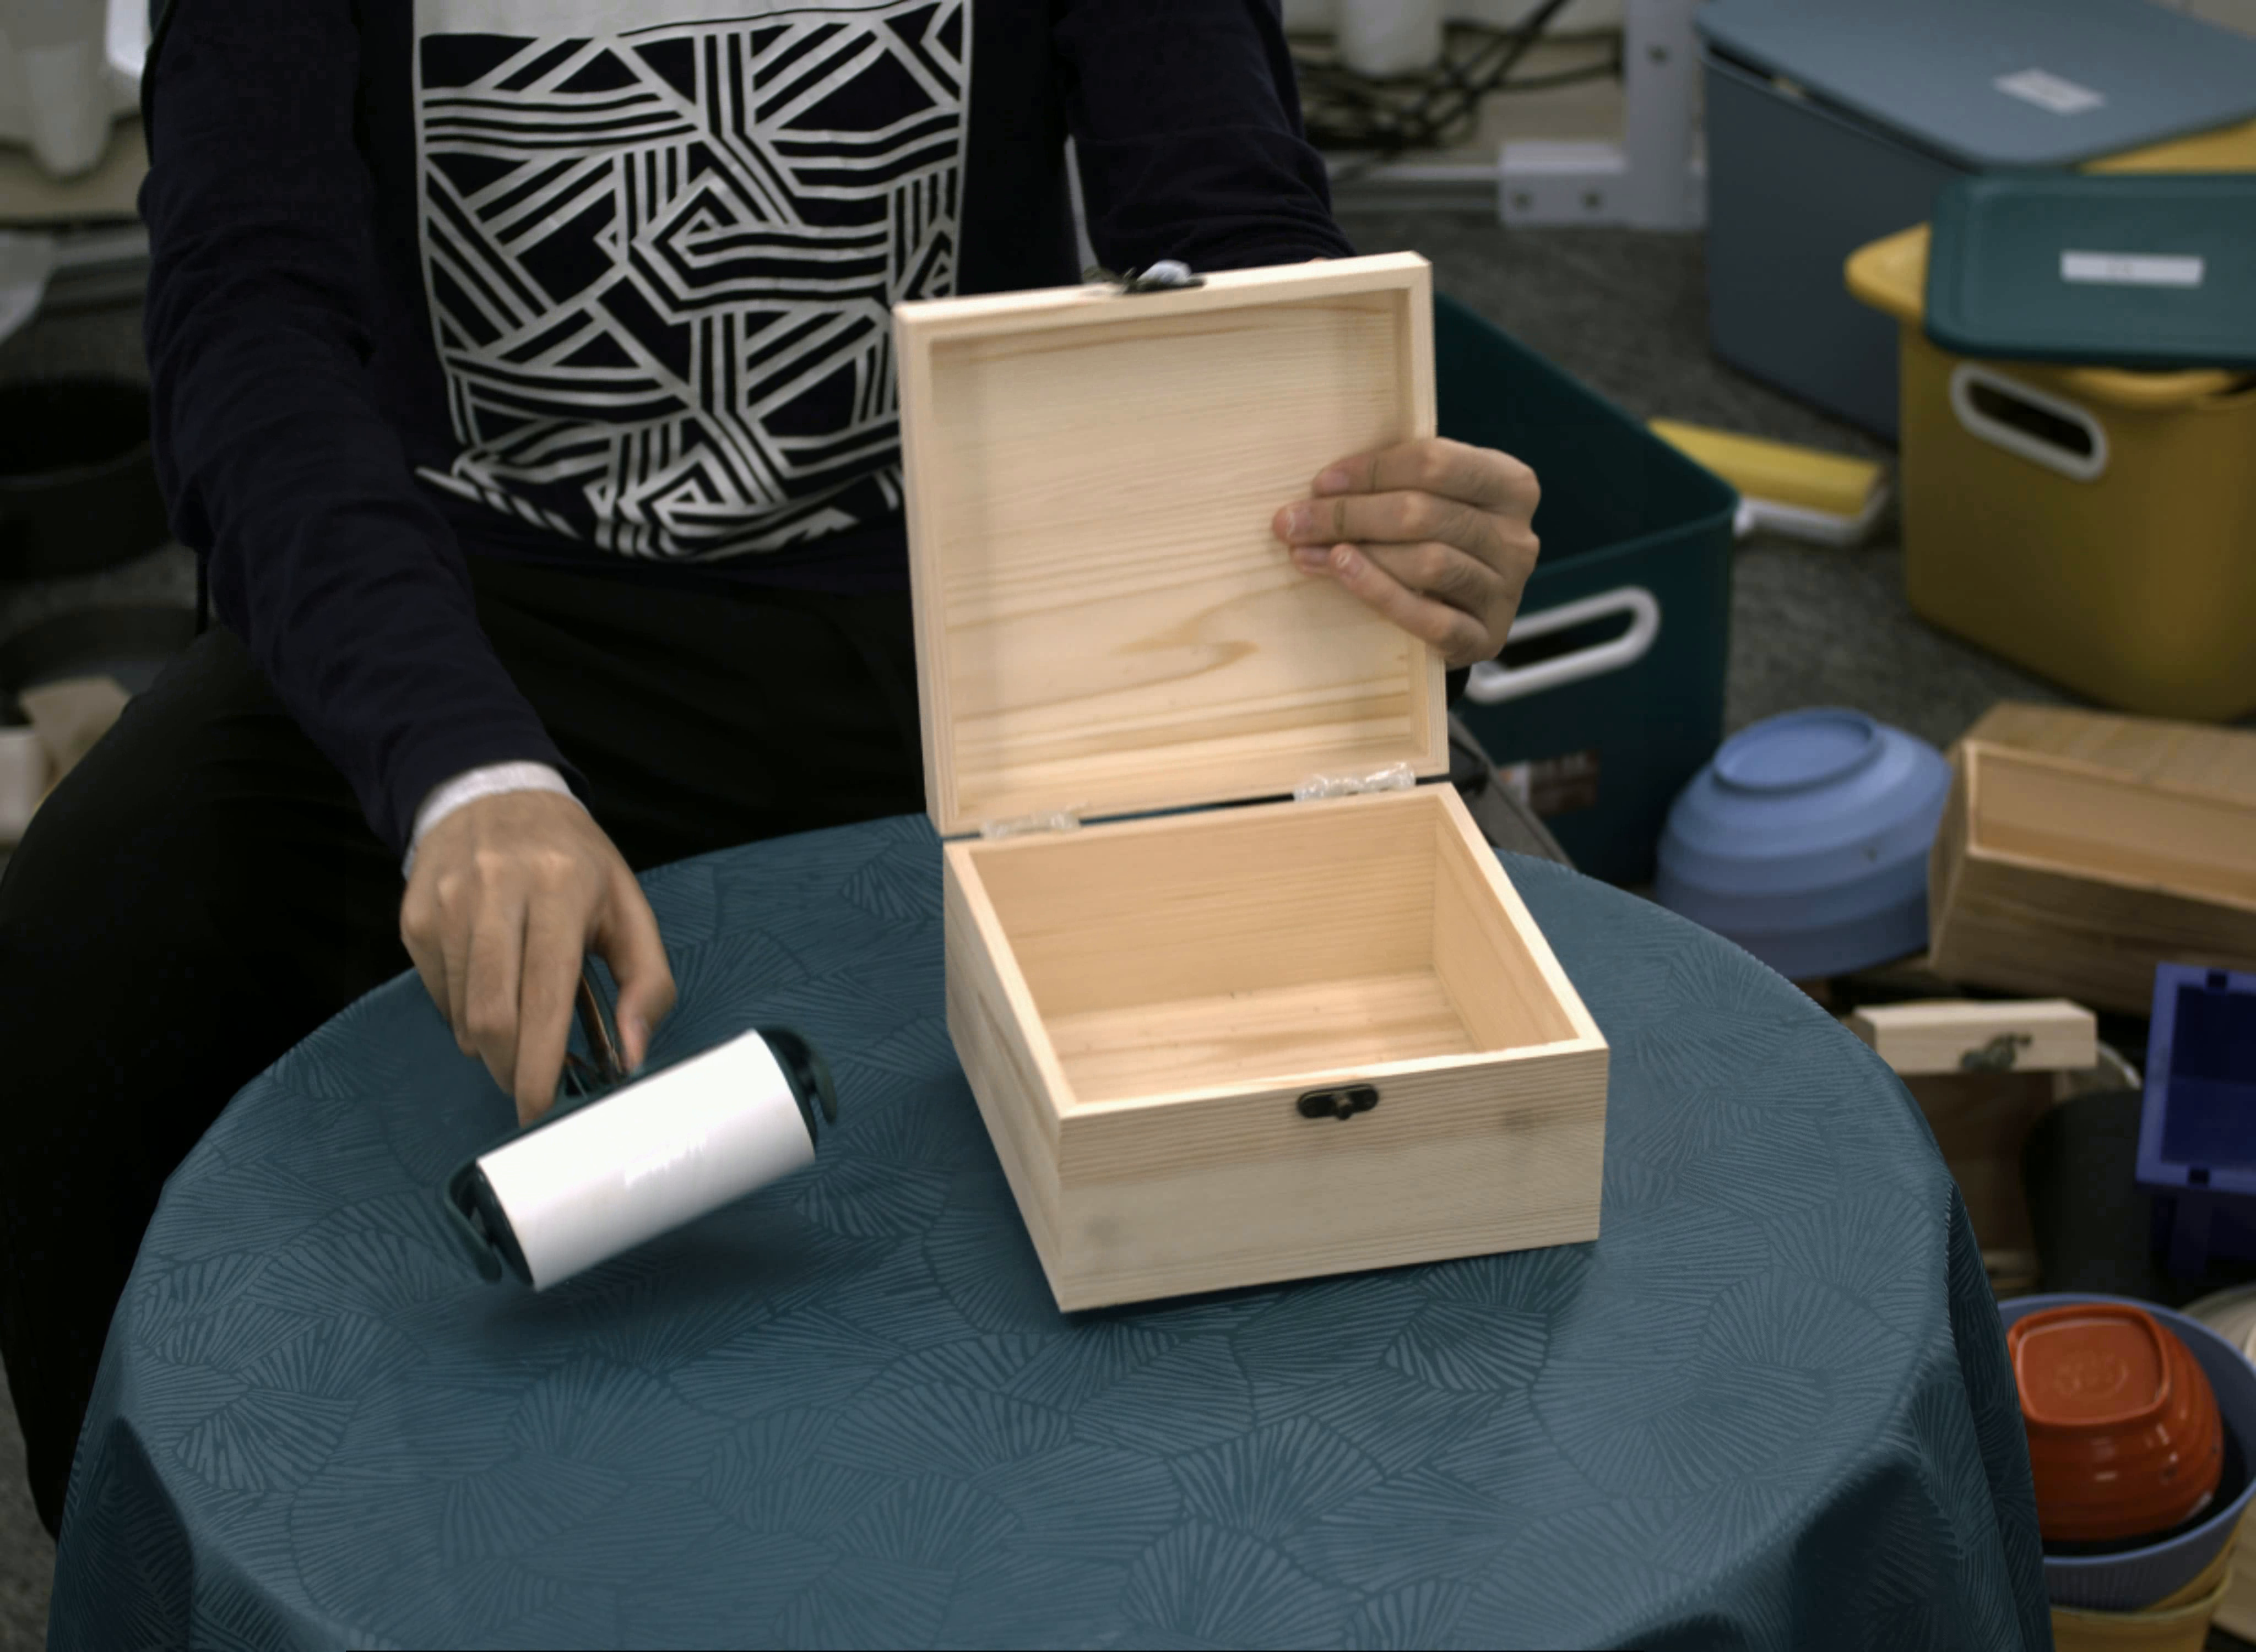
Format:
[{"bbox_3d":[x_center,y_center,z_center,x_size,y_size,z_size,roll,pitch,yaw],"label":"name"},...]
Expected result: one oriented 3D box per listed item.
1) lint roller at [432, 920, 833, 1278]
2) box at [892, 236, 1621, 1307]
[{"bbox_3d":[-0.185,0.067,1.852,0.135,0.047,0.182,-25,41,-12],"label":"lint roller"},{"bbox_3d":[0.040,-0.025,1.849,0.182,0.250,0.268,-7,29,-13],"label":"box"}]
